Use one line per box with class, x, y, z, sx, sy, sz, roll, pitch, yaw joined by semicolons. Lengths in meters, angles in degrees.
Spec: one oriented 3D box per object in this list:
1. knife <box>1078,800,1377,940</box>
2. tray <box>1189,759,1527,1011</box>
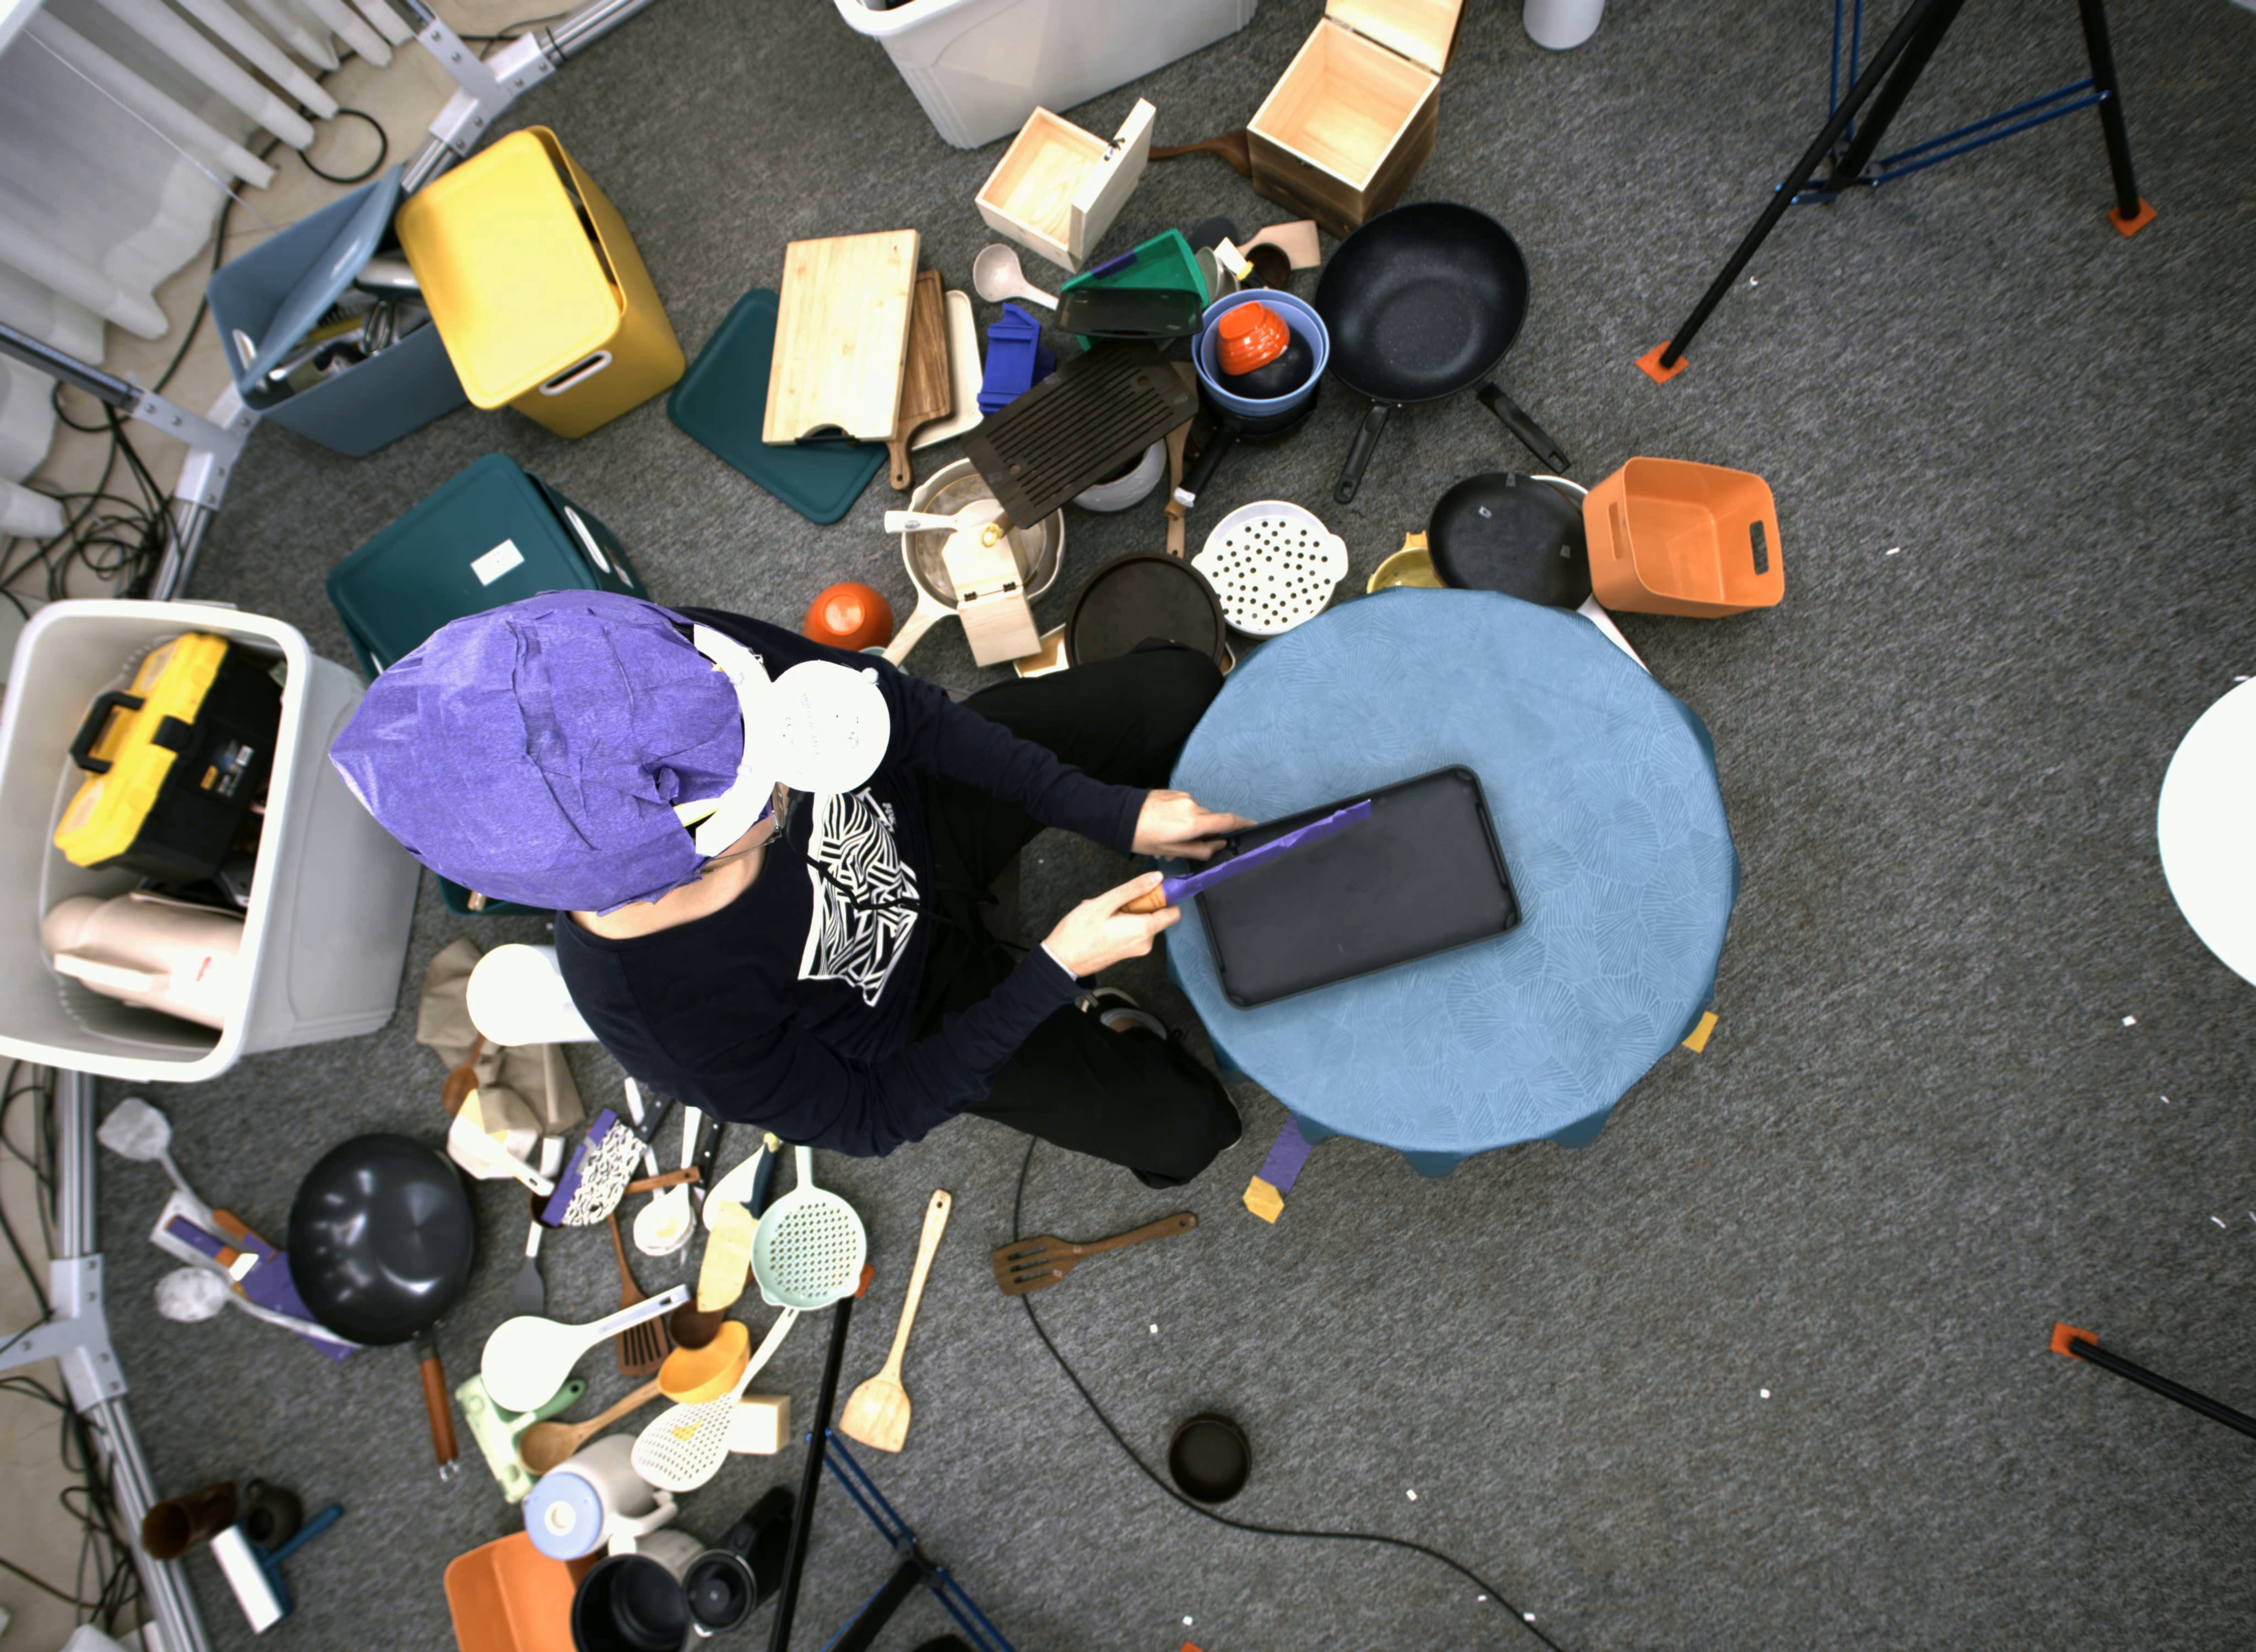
knife;0.105;0.047;1.396;0.317;0.104;0.032;-22;77;8
tray;0.238;0.061;1.443;0.320;0.037;0.183;-19;86;8
